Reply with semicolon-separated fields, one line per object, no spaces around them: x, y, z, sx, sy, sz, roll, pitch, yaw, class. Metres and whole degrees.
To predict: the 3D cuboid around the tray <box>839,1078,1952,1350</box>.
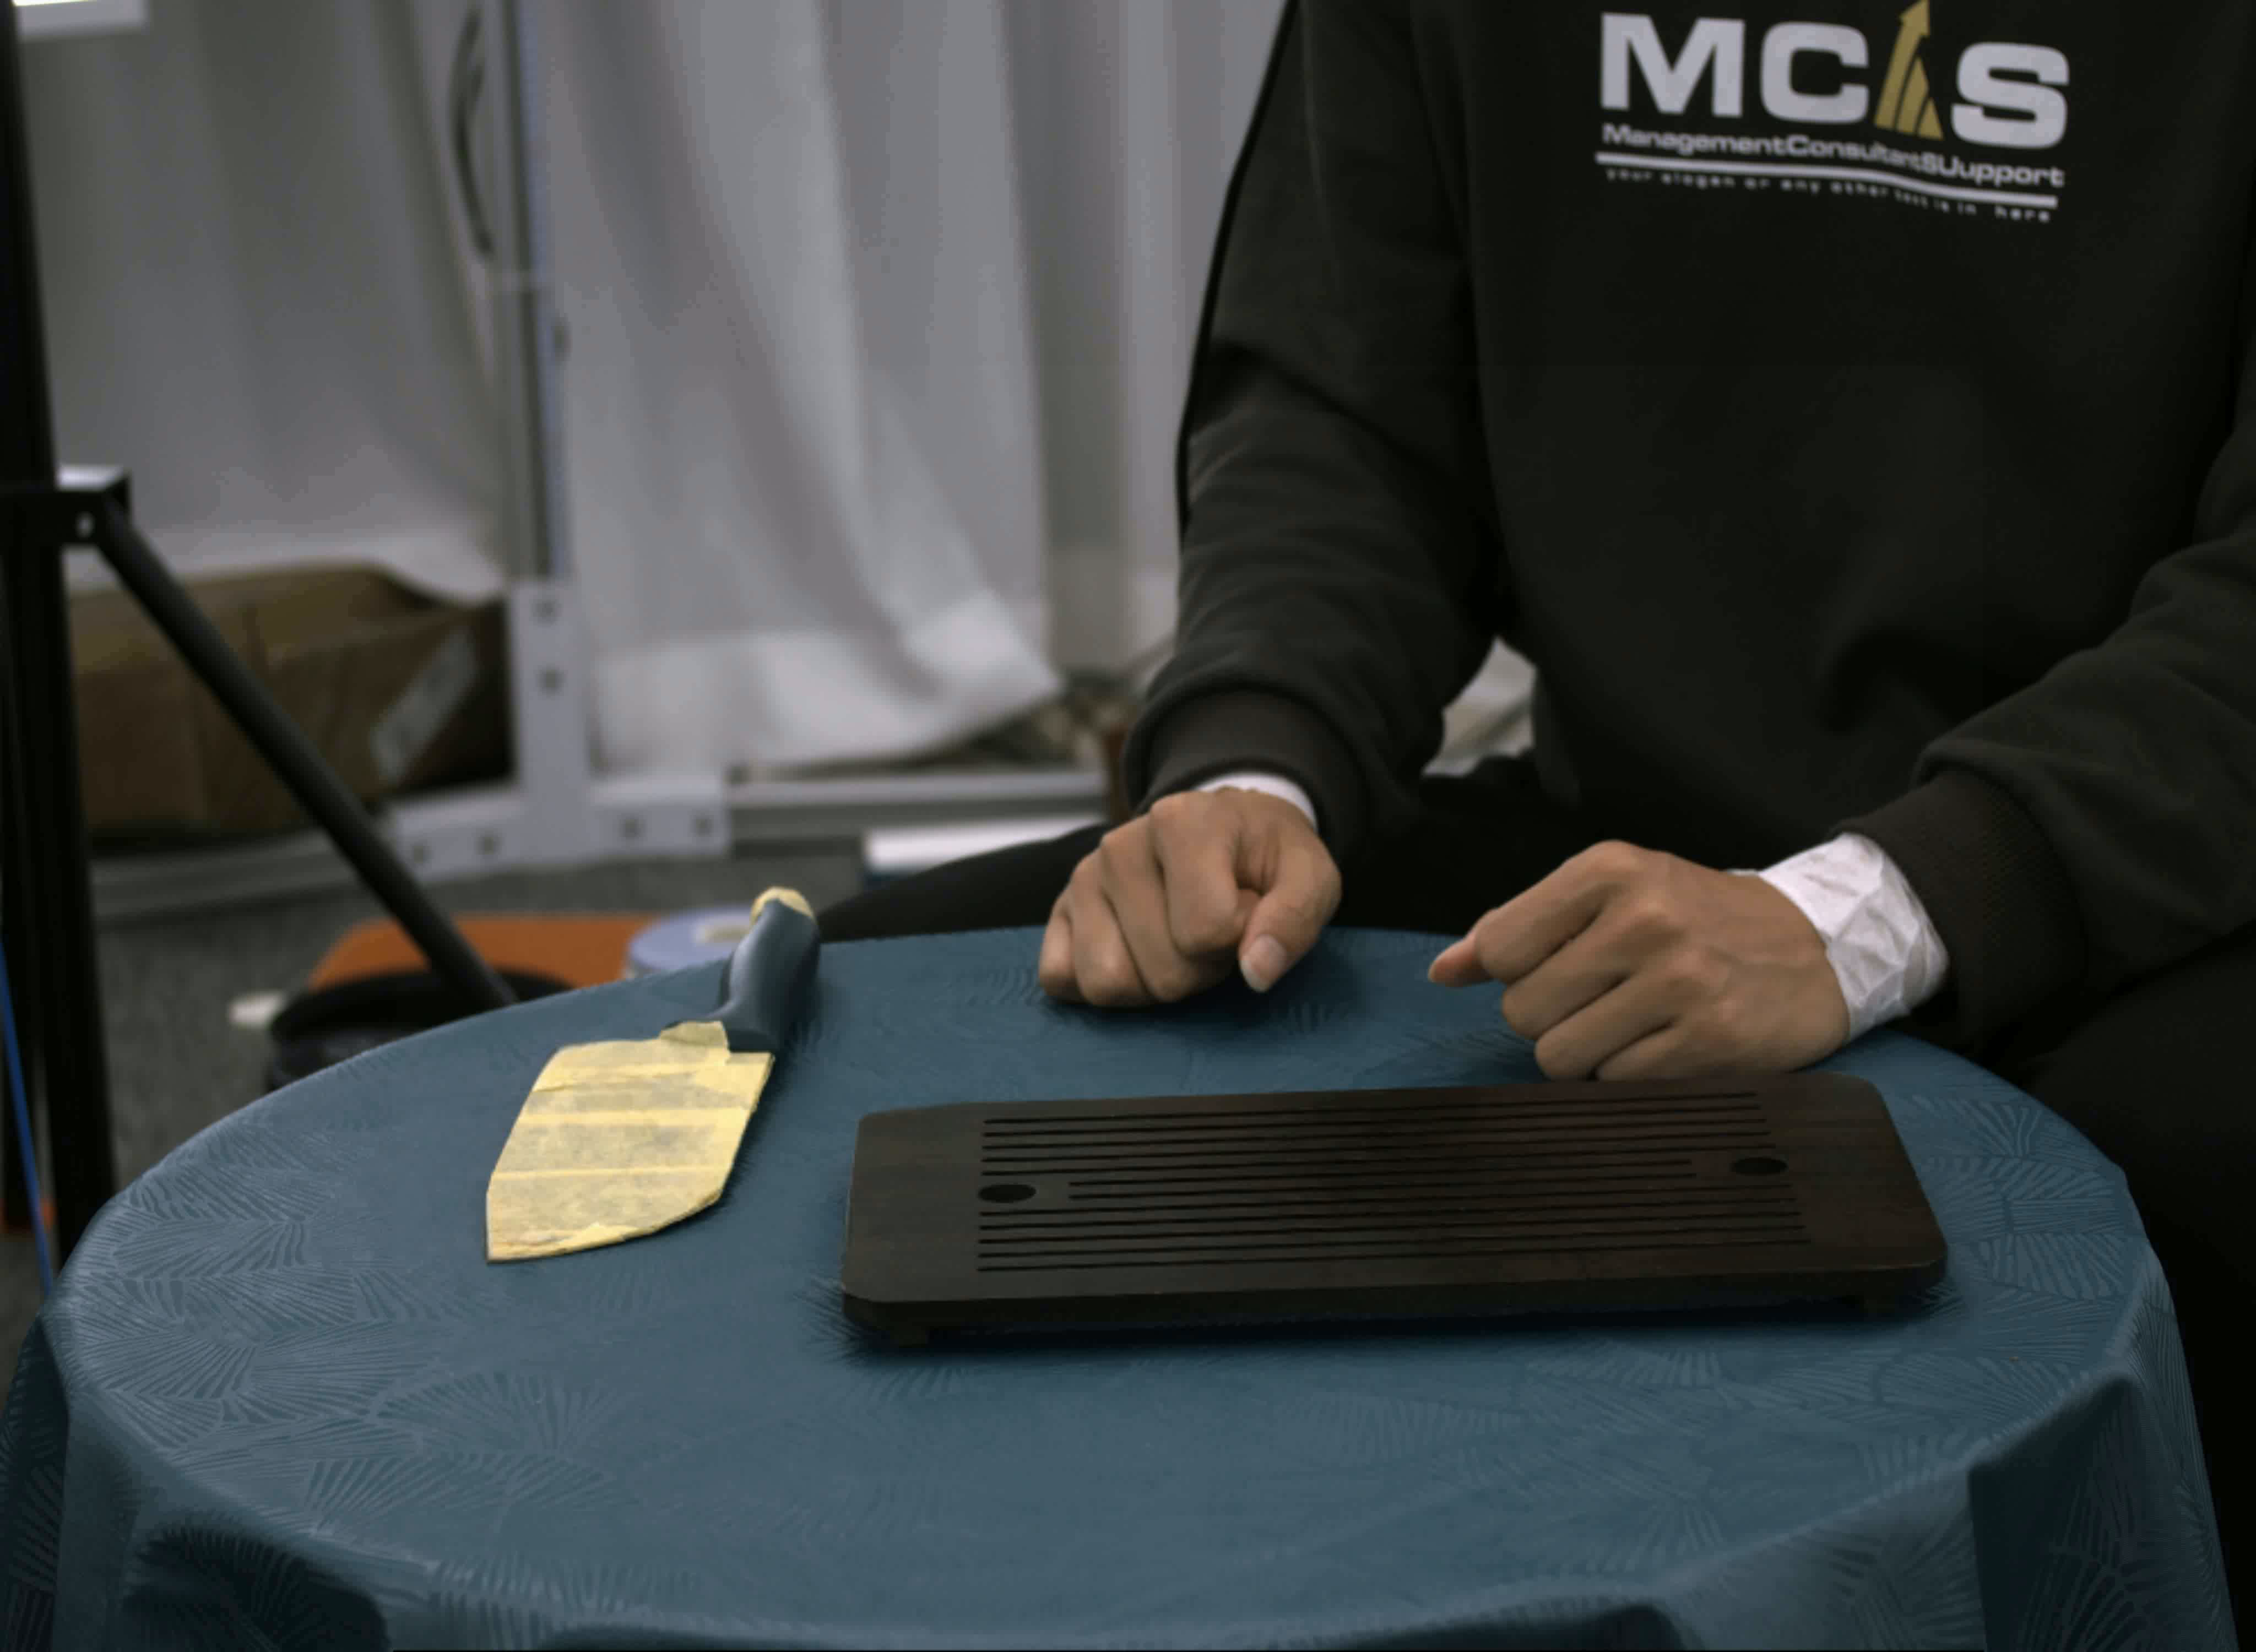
0.073;0.110;1.509;0.305;0.018;0.170;-2;15;2;tray

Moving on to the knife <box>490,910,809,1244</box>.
-0.145;0.078;1.664;0.081;0.027;0.289;1;17;8;knife
